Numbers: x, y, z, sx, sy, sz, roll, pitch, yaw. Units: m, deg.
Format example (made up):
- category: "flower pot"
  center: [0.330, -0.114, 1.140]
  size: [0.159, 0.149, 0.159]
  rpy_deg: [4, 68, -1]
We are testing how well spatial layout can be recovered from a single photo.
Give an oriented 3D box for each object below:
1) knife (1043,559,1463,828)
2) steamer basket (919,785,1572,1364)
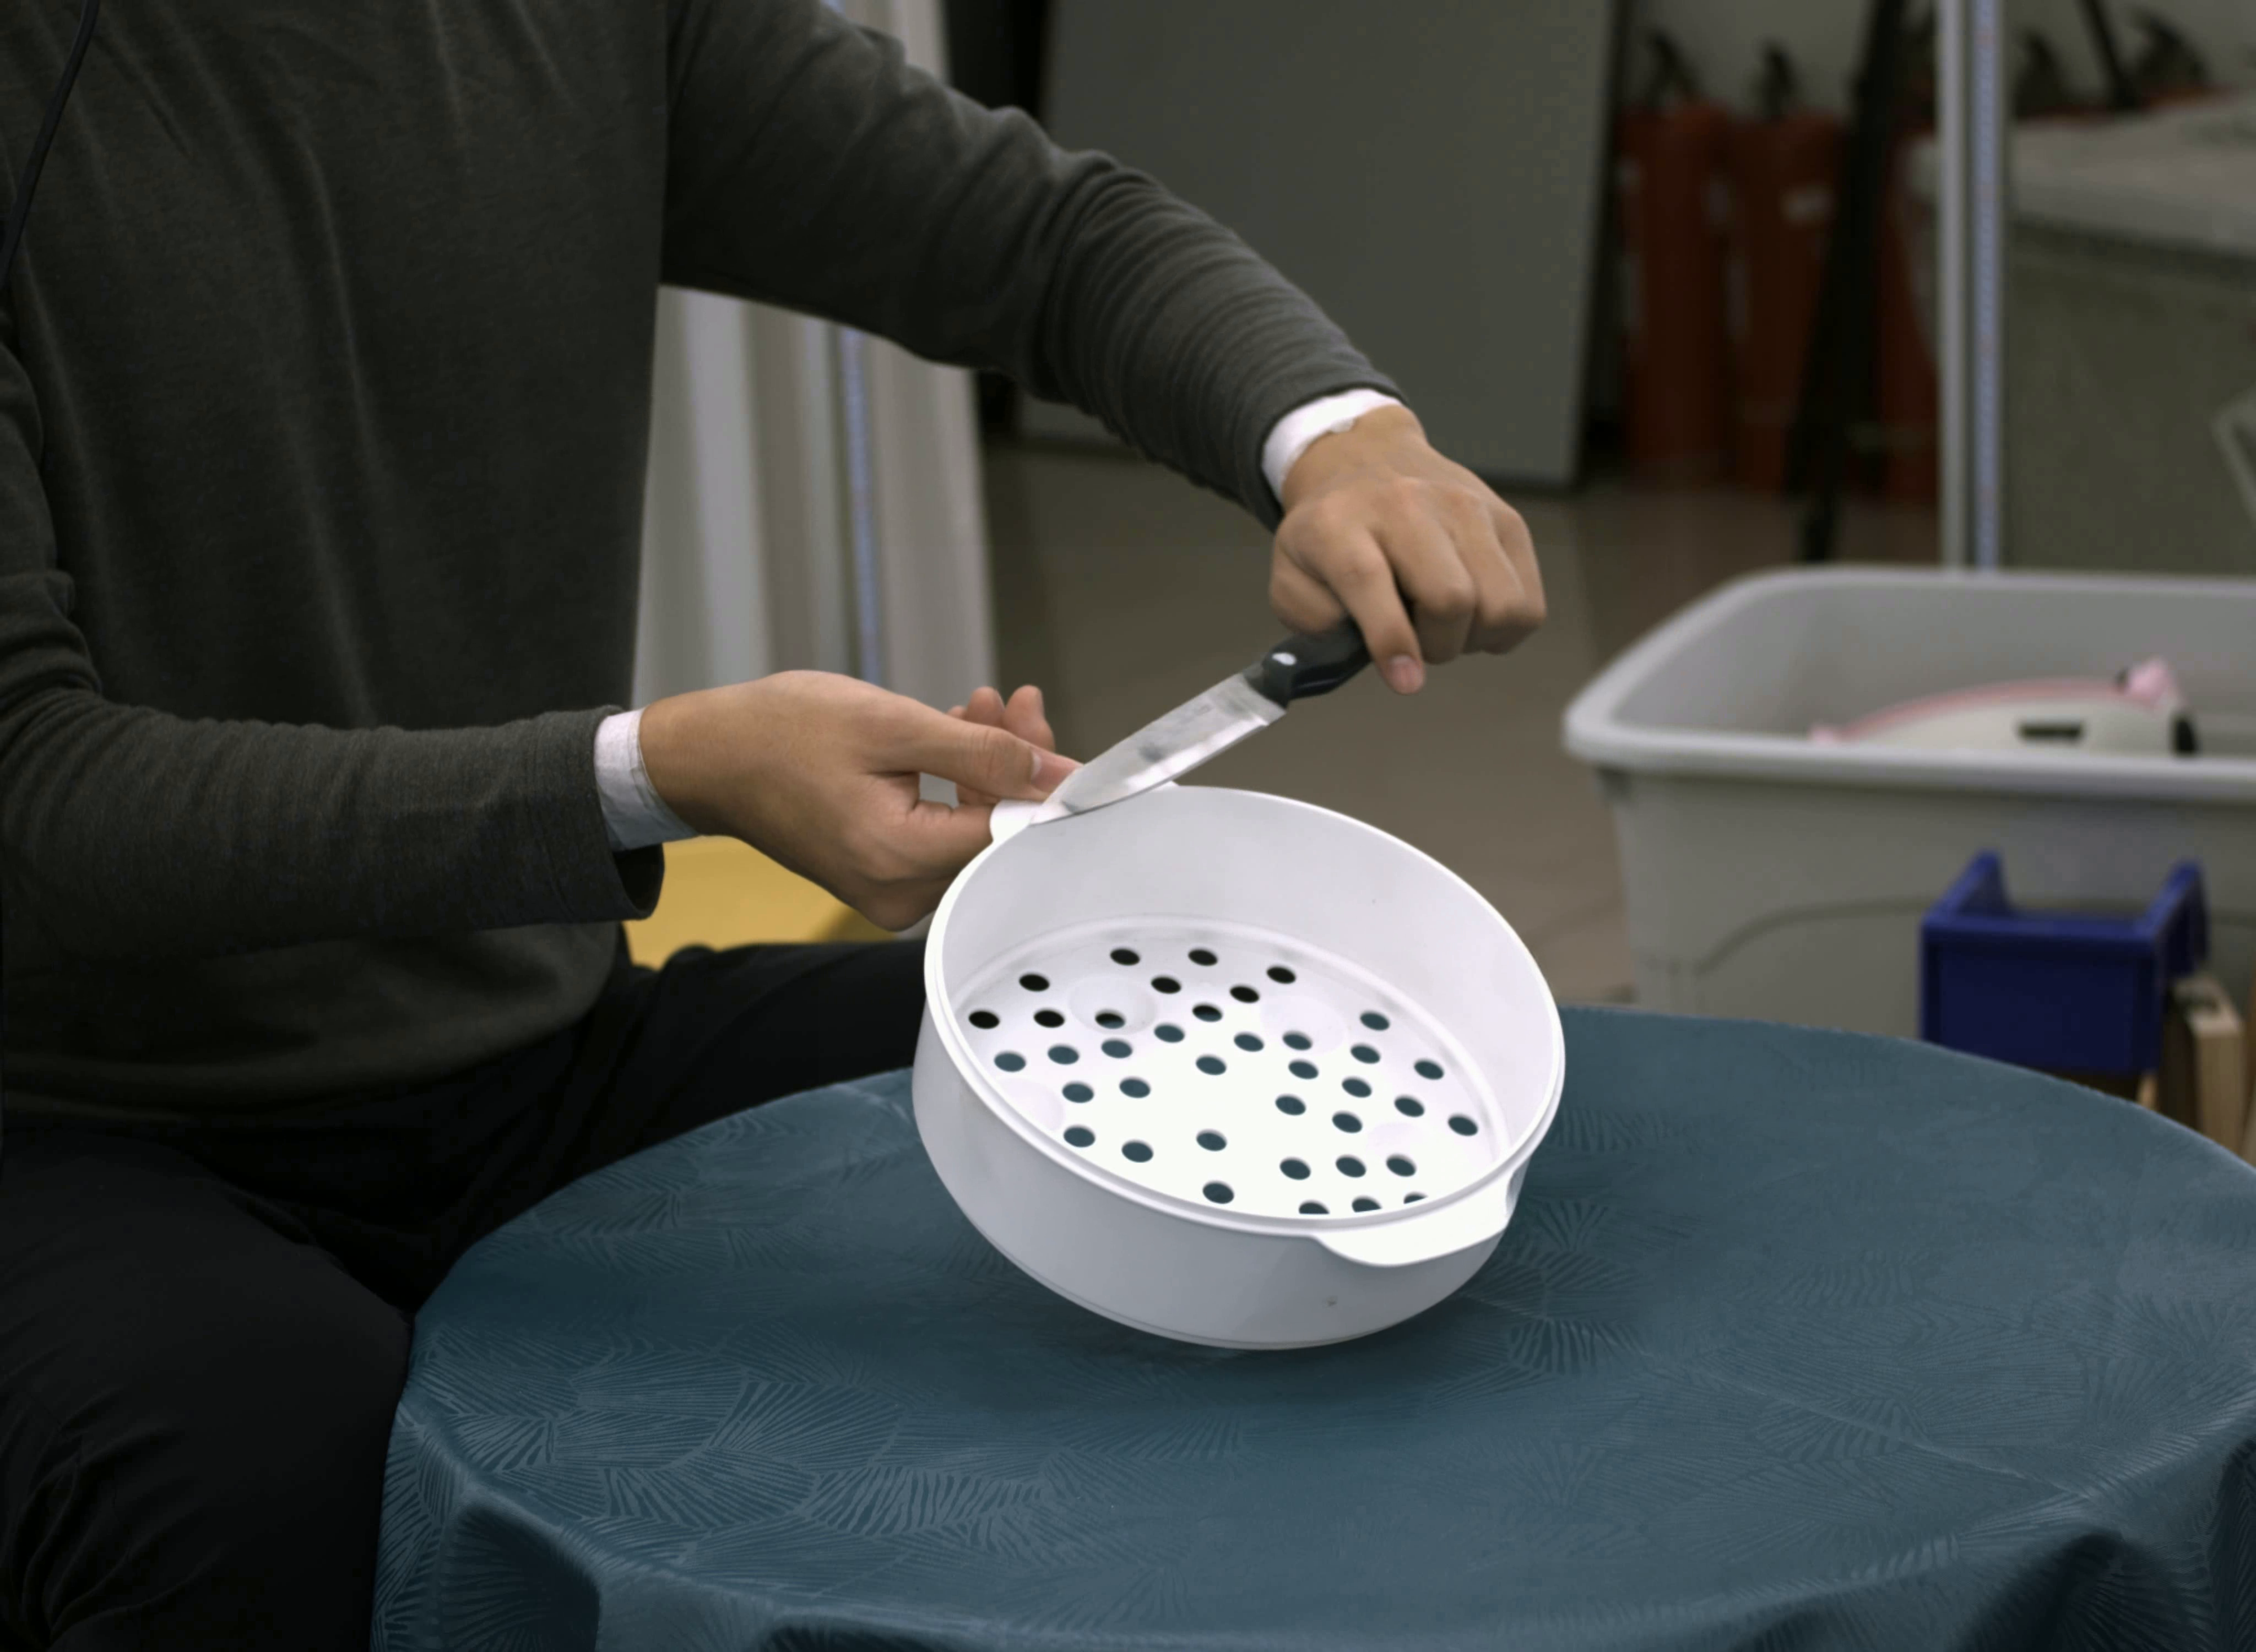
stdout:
- category: "knife"
  center: [0.039, -0.043, 1.717]
  size: [0.024, 0.016, 0.234]
  rpy_deg: [34, 37, 20]
- category: "steamer basket"
  center: [0.034, 0.078, 1.657]
  size: [0.197, 0.070, 0.233]
  rpy_deg: [-15, 44, -29]
